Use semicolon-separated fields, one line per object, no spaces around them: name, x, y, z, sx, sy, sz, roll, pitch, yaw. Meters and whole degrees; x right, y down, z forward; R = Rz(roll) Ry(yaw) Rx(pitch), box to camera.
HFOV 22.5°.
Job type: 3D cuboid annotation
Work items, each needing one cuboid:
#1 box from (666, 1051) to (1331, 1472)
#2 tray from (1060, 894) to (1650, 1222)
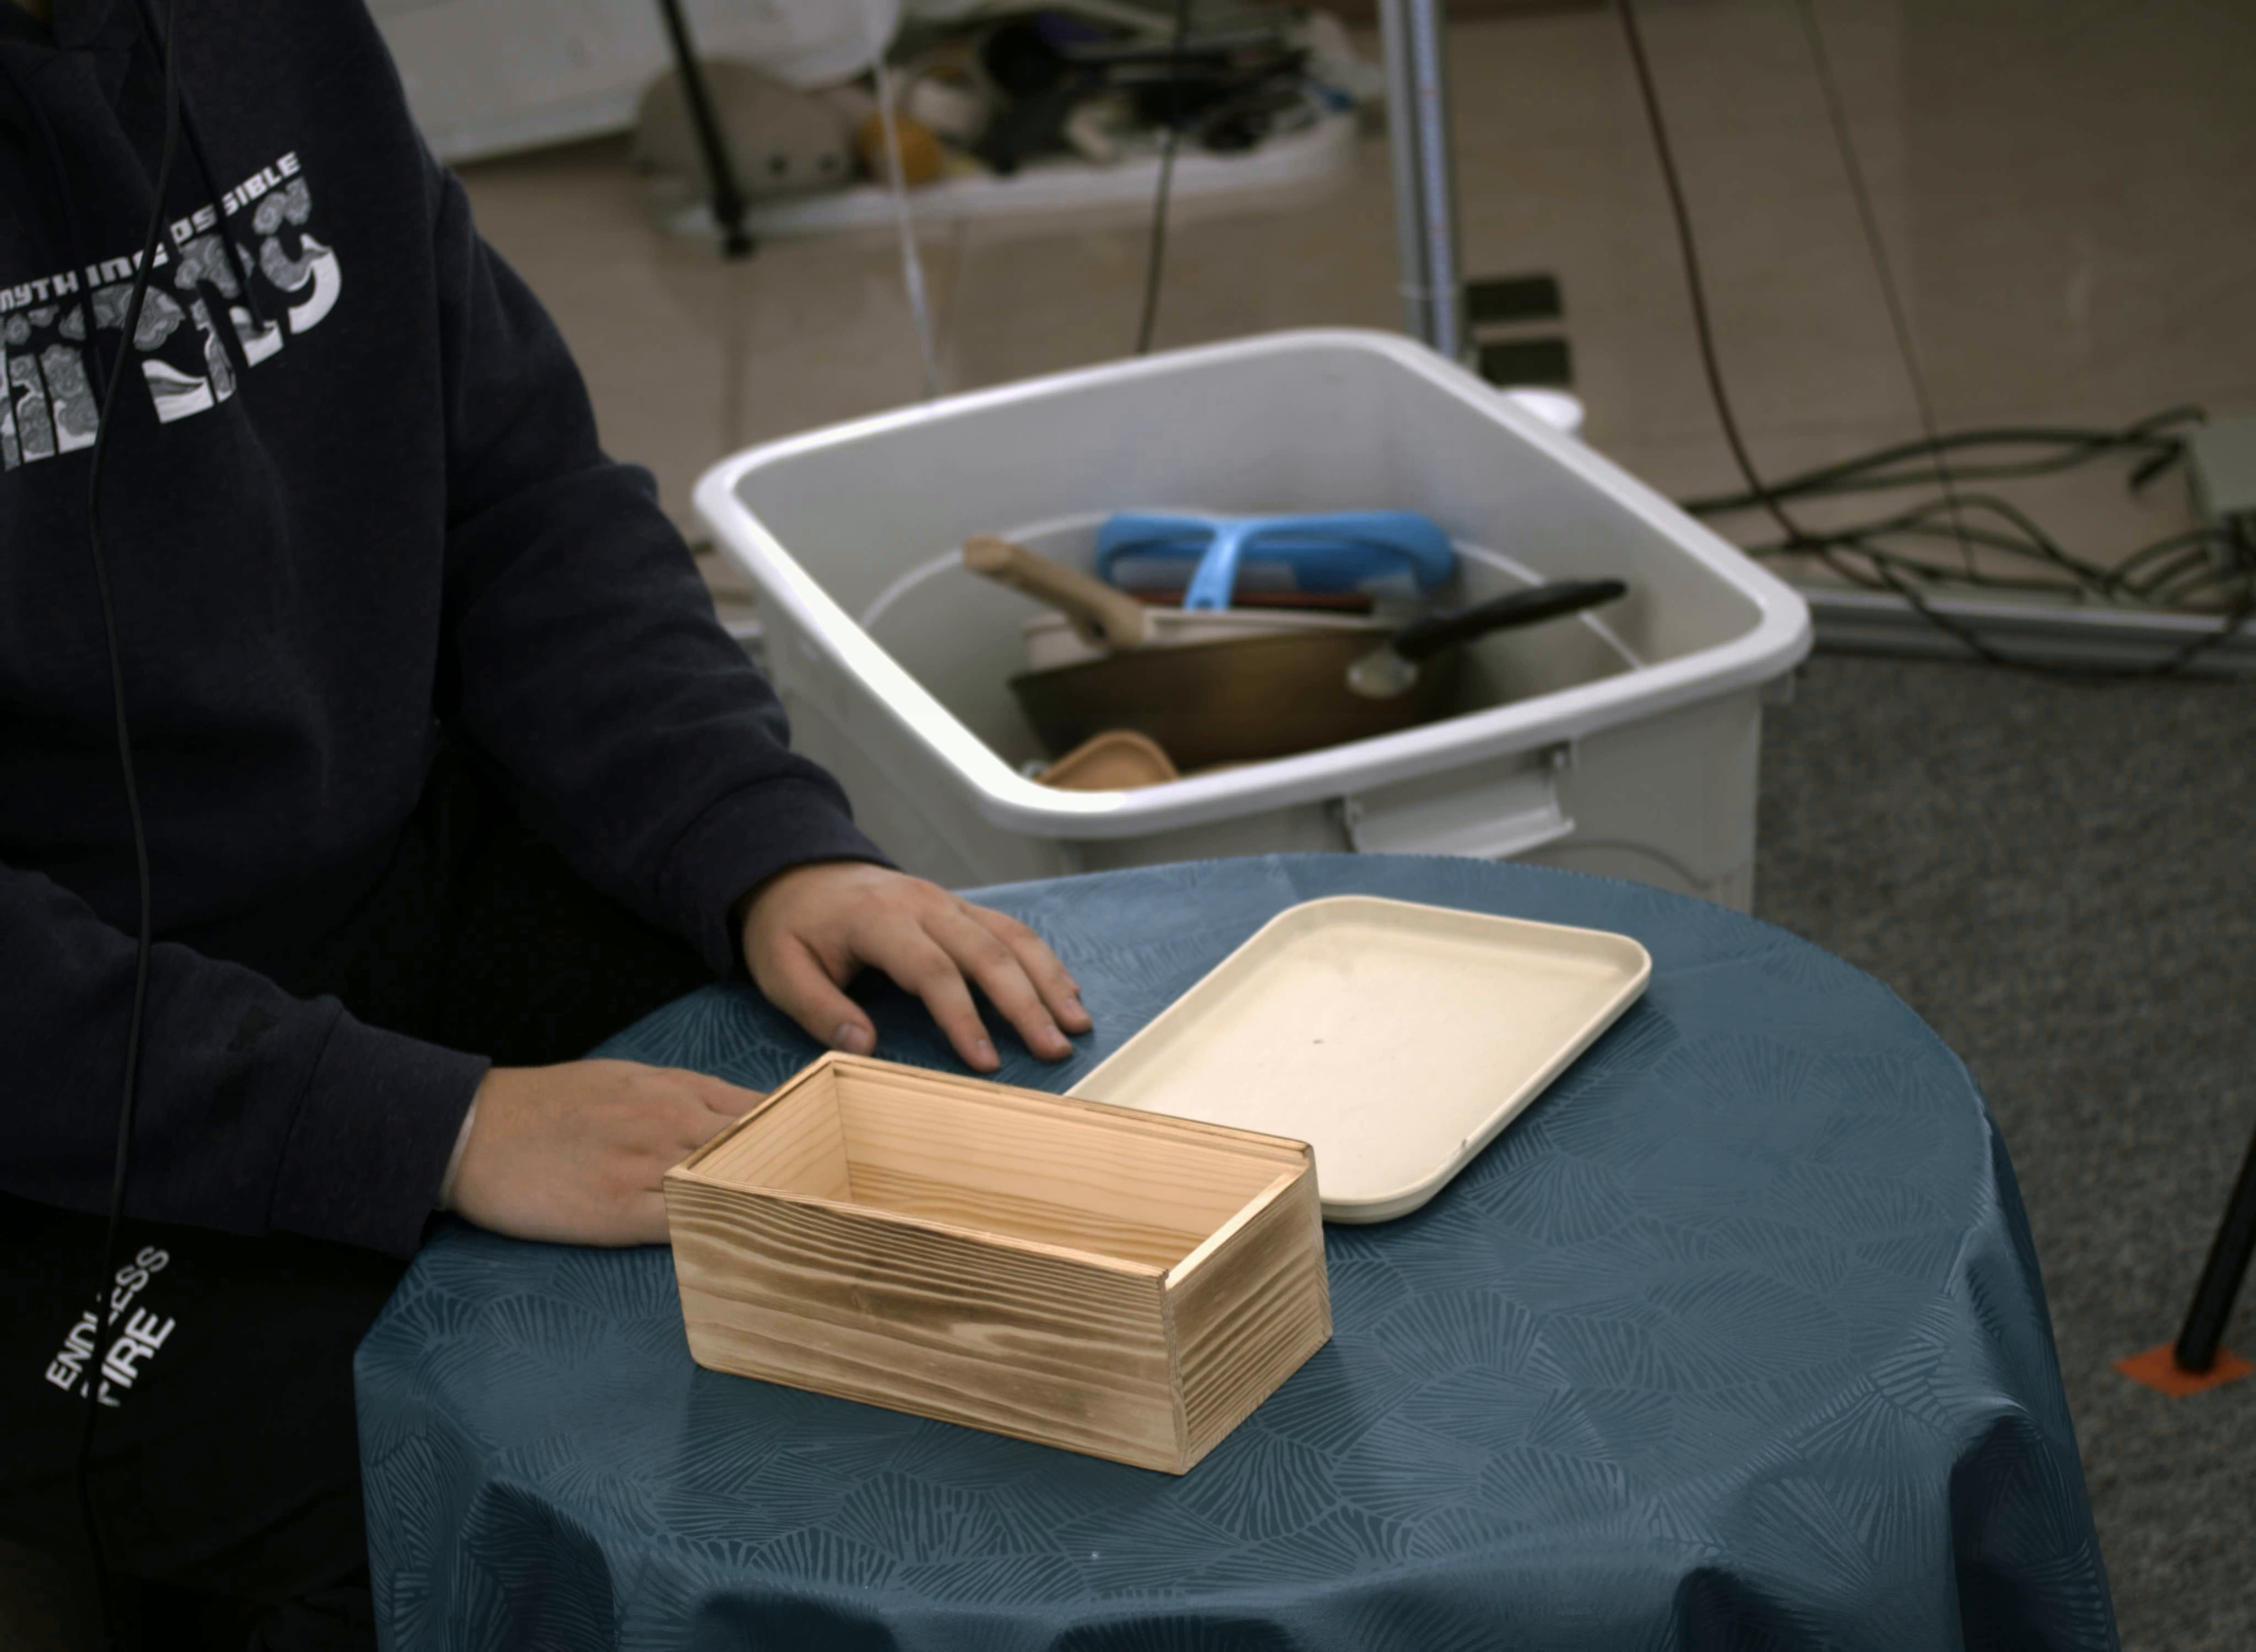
box;-0.047;0.153;2.032;0.210;0.081;0.106;9;29;31
tray;0.087;0.090;2.213;0.170;0.018;0.237;8;28;30
